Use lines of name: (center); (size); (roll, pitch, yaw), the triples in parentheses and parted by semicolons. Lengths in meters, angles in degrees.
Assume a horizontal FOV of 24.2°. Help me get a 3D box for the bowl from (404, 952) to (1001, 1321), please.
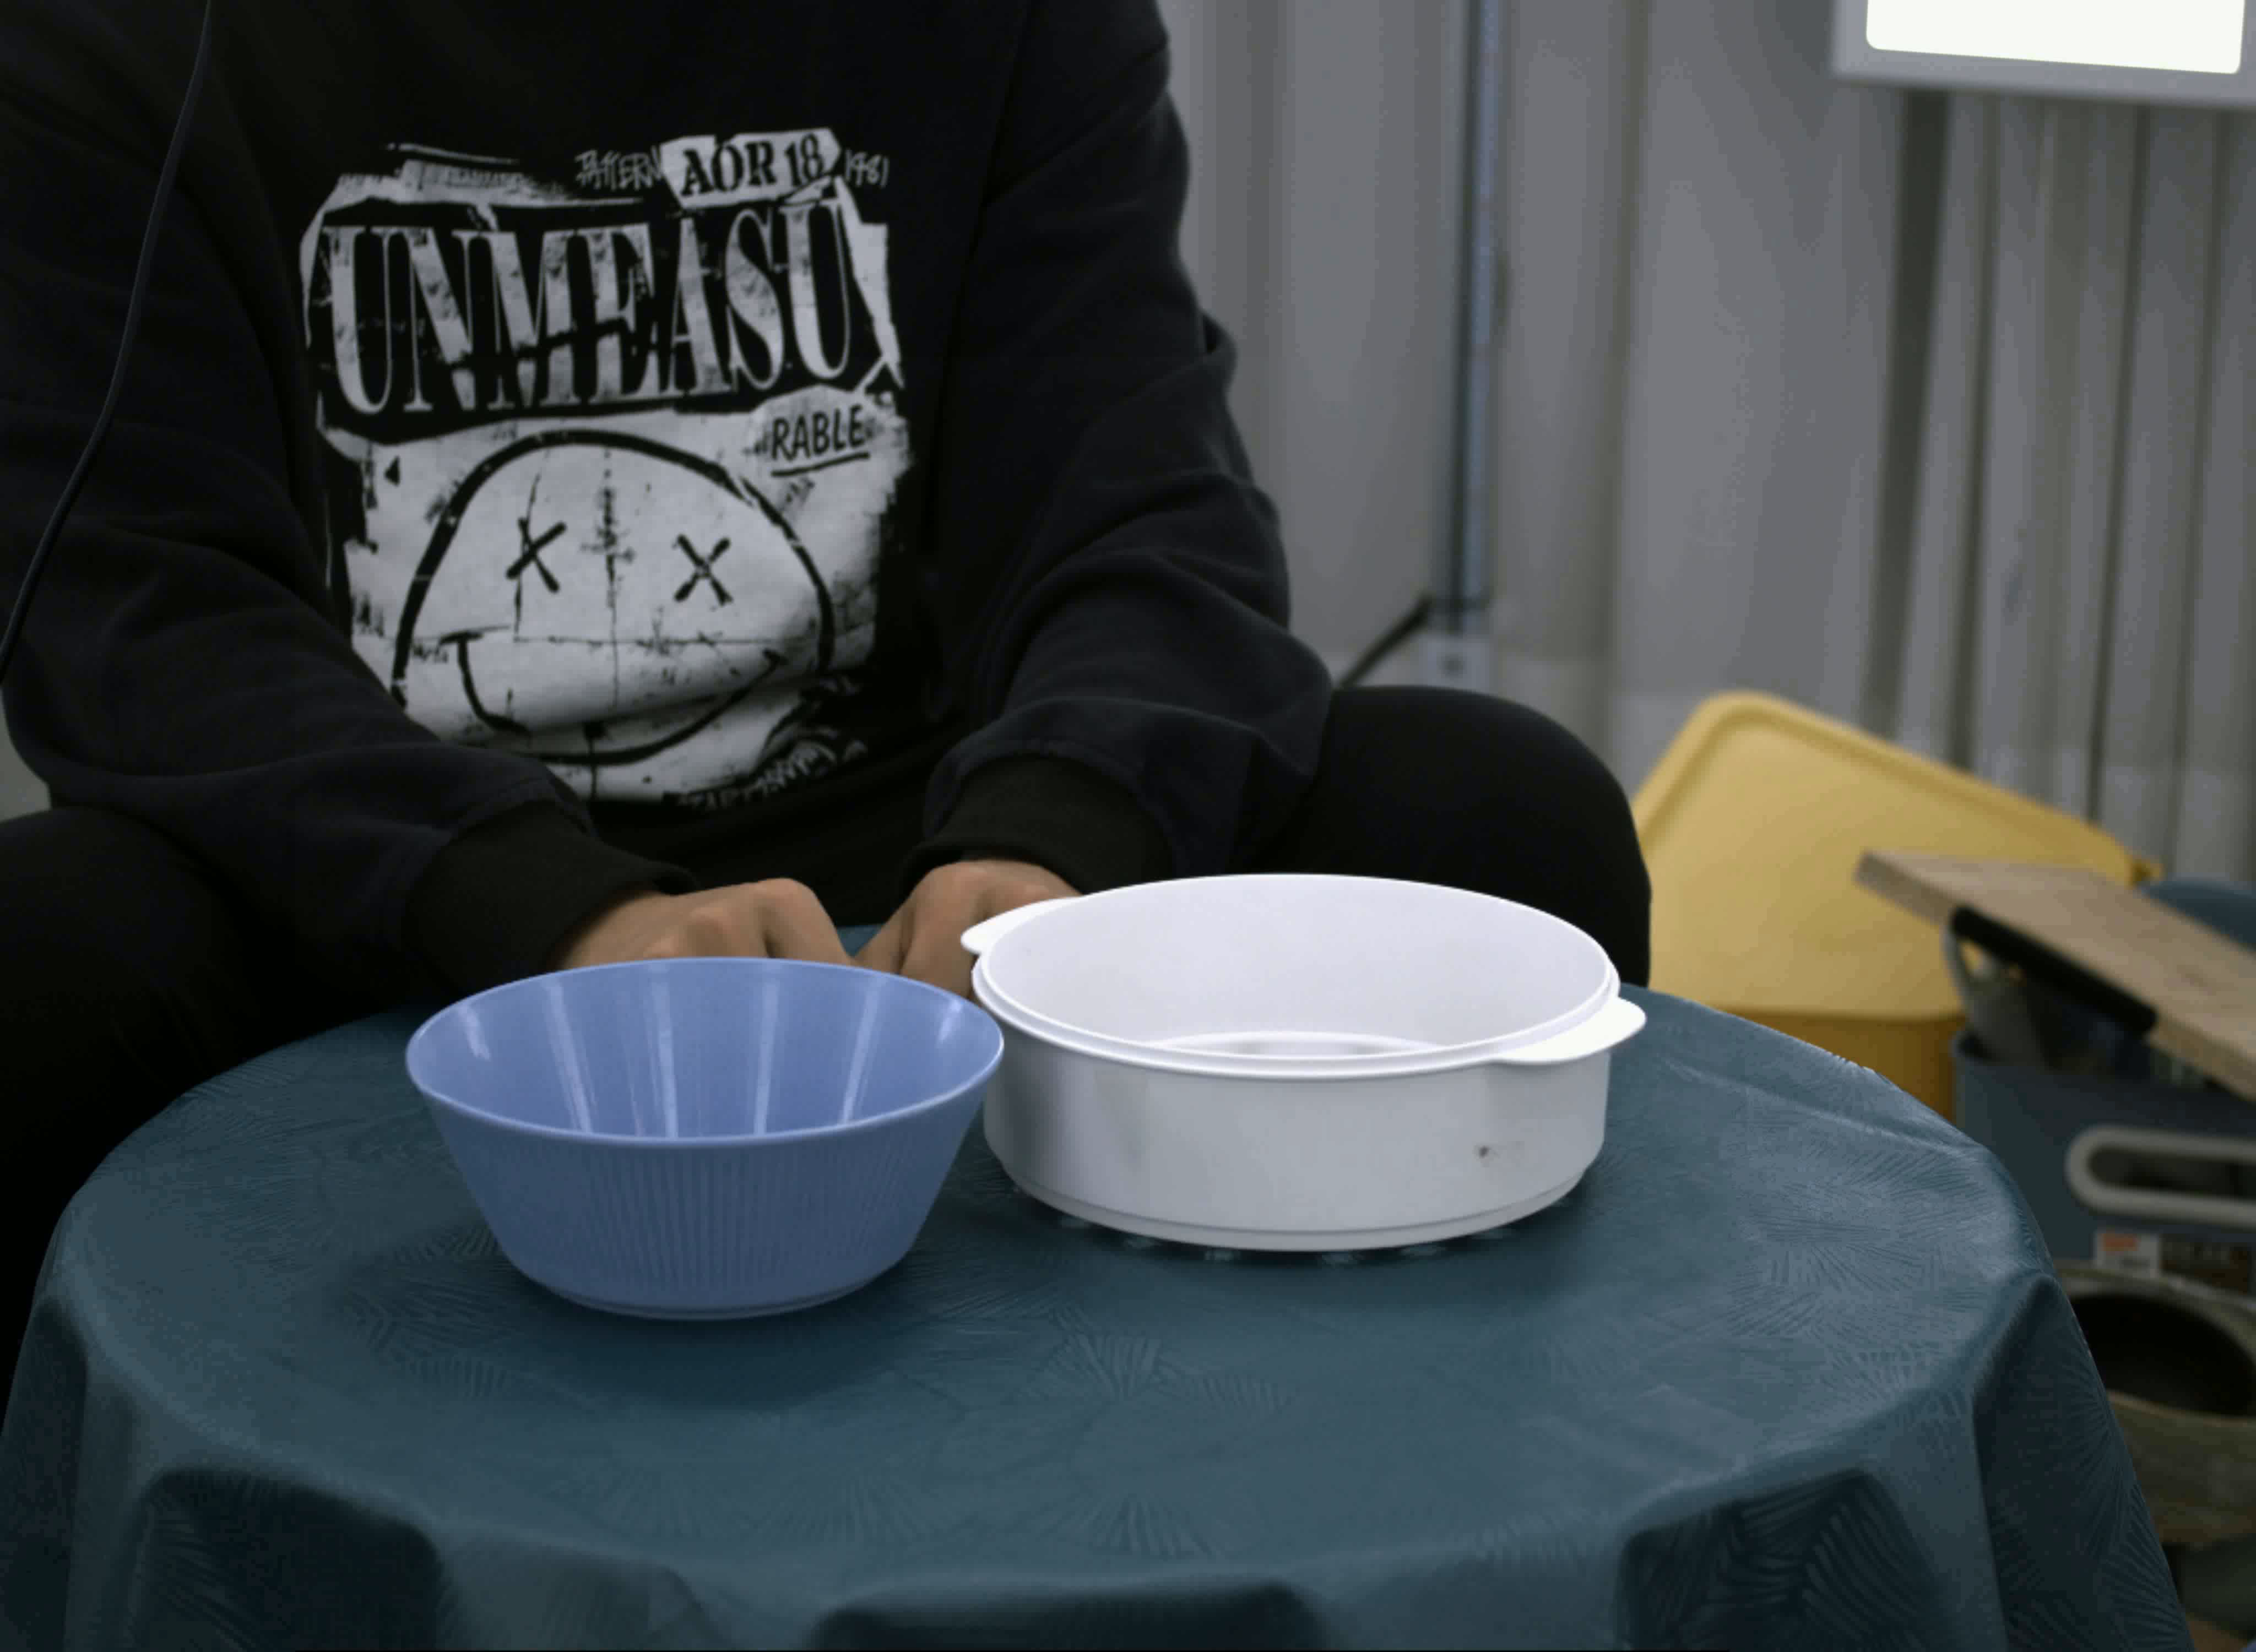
bowl: (-0.125, 0.094, 1.555); (0.175, 0.071, 0.175); (1, 17, 0)

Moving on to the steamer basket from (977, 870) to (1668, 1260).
steamer basket: (0.057, 0.074, 1.639); (0.228, 0.070, 0.202); (13, 20, 31)
